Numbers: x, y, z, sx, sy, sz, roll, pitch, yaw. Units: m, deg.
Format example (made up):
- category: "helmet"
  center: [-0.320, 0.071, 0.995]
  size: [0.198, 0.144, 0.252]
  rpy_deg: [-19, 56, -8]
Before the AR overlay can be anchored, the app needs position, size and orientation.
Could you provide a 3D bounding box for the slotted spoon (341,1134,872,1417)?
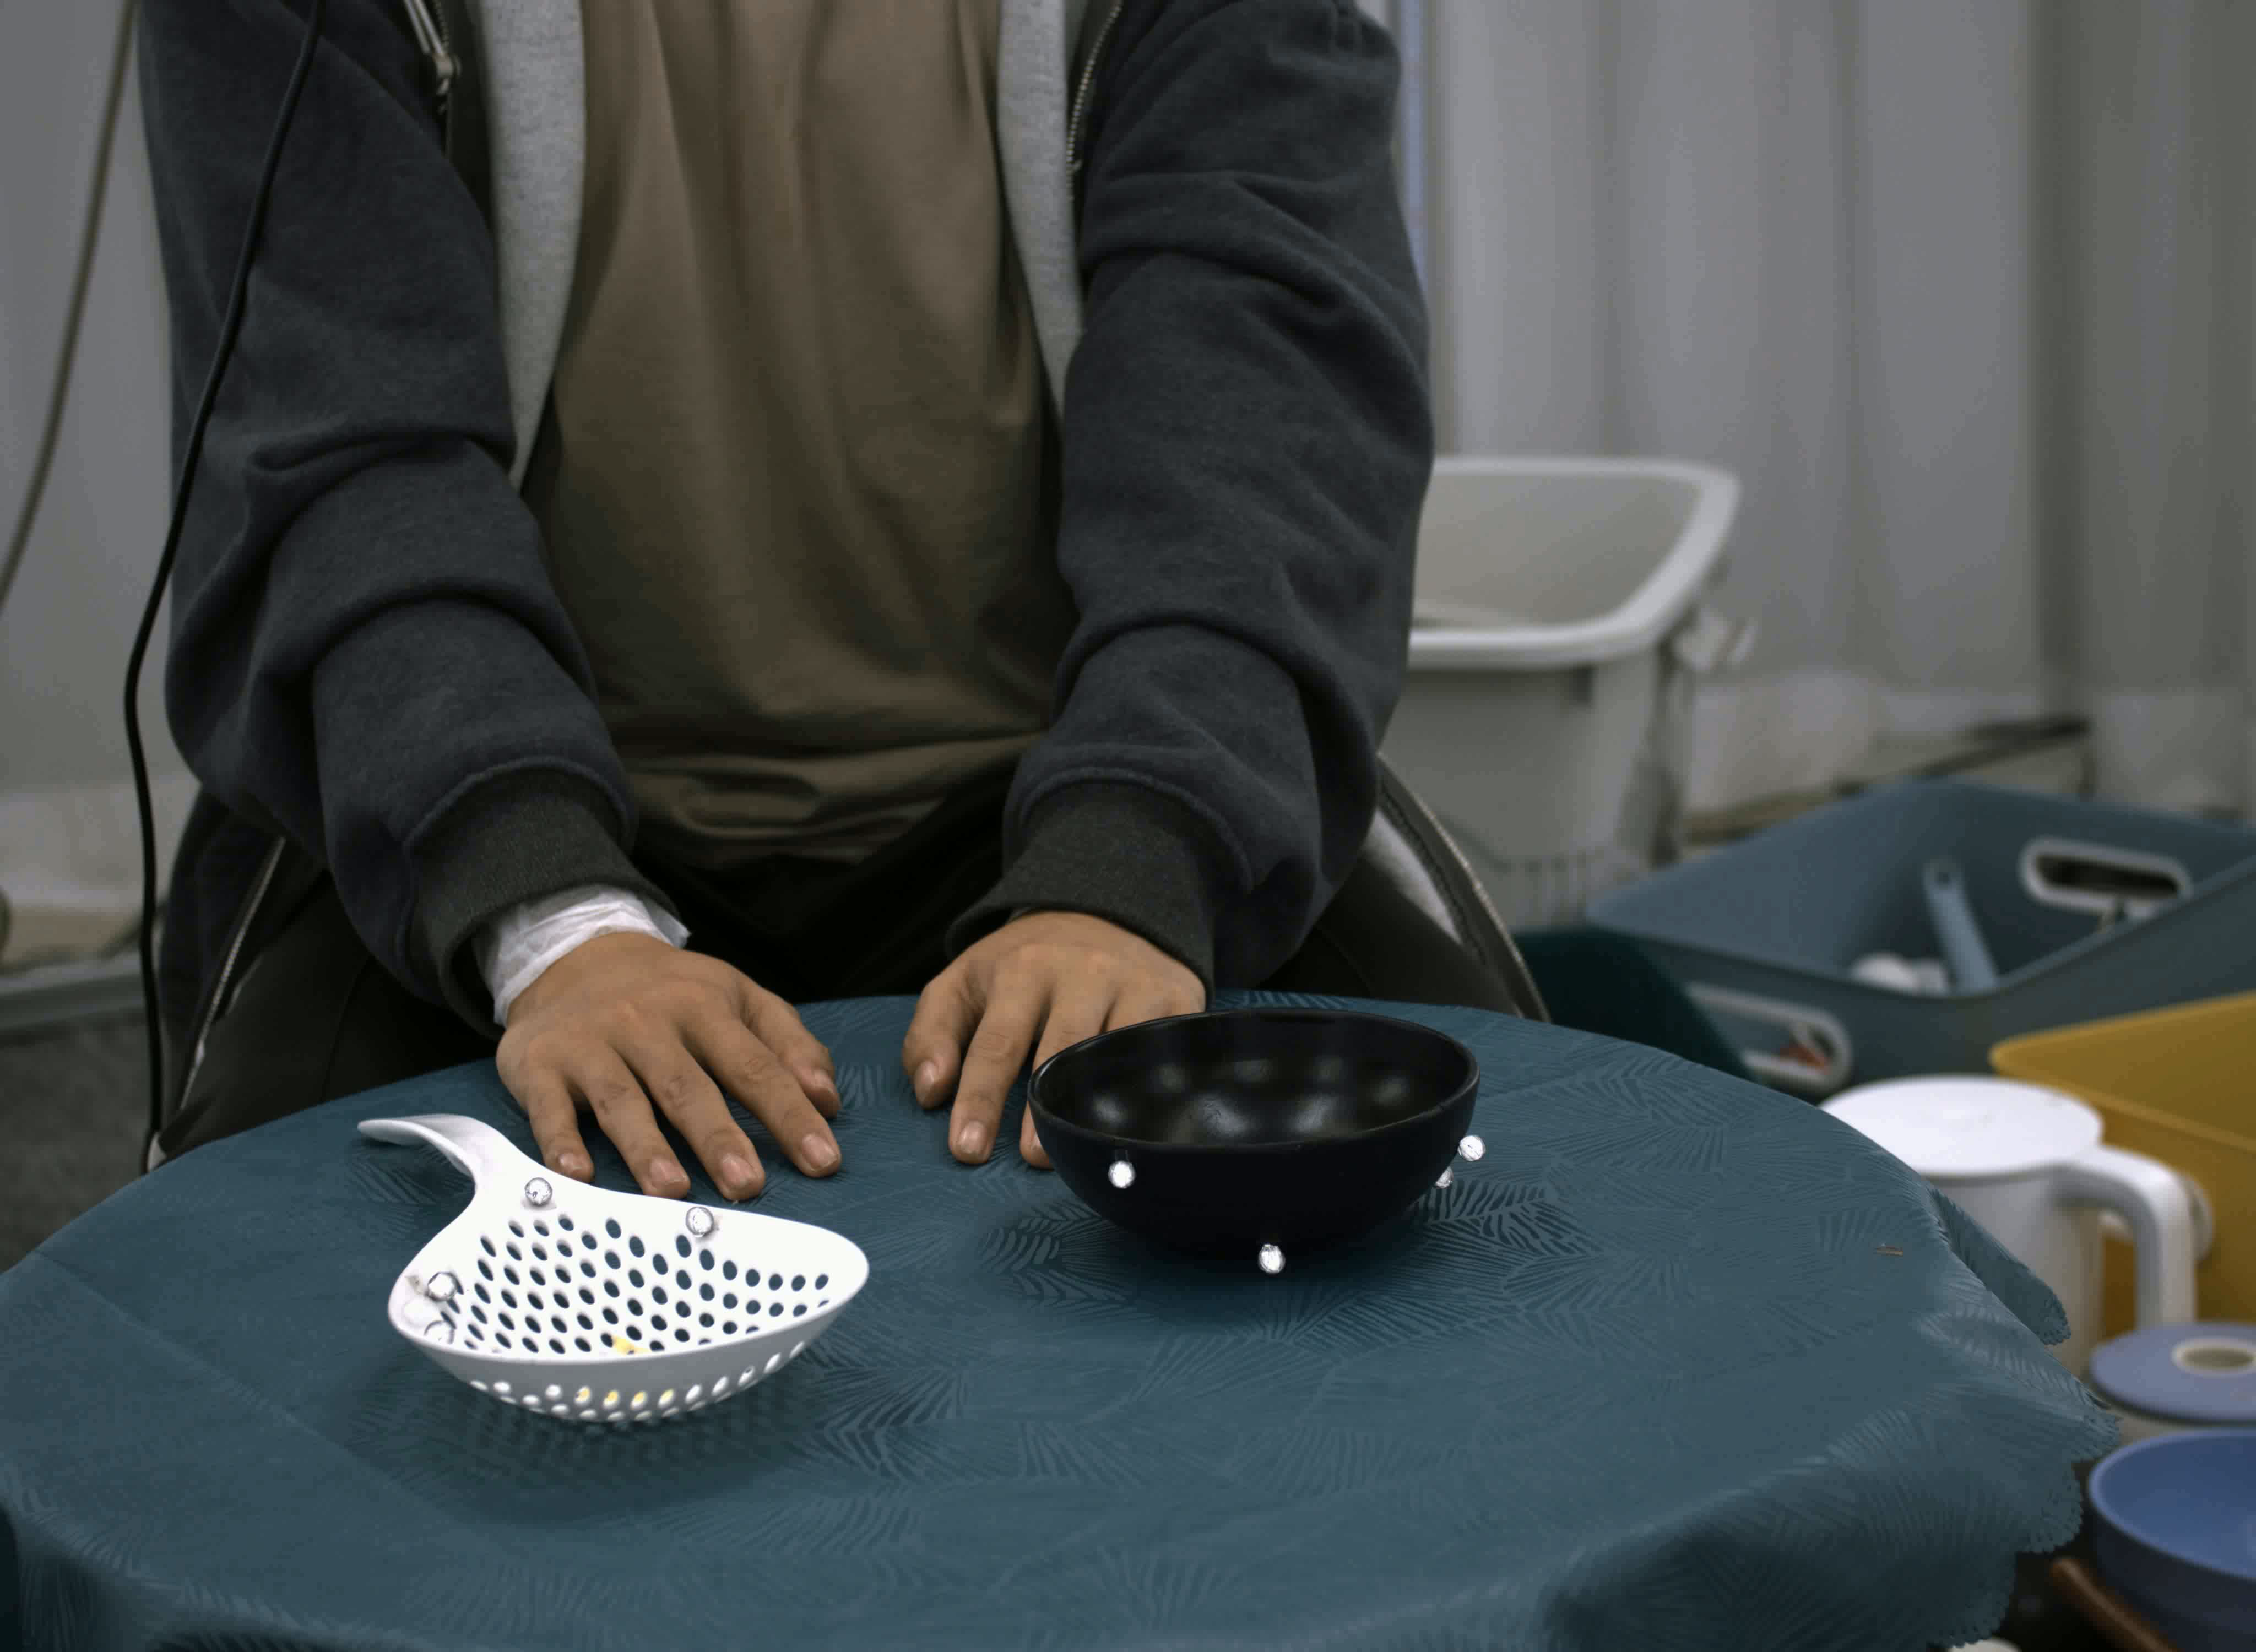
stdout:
- category: "slotted spoon"
  center: [-0.181, 0.122, 1.649]
  size: [0.136, 0.050, 0.350]
  rpy_deg: [-13, 17, -20]
